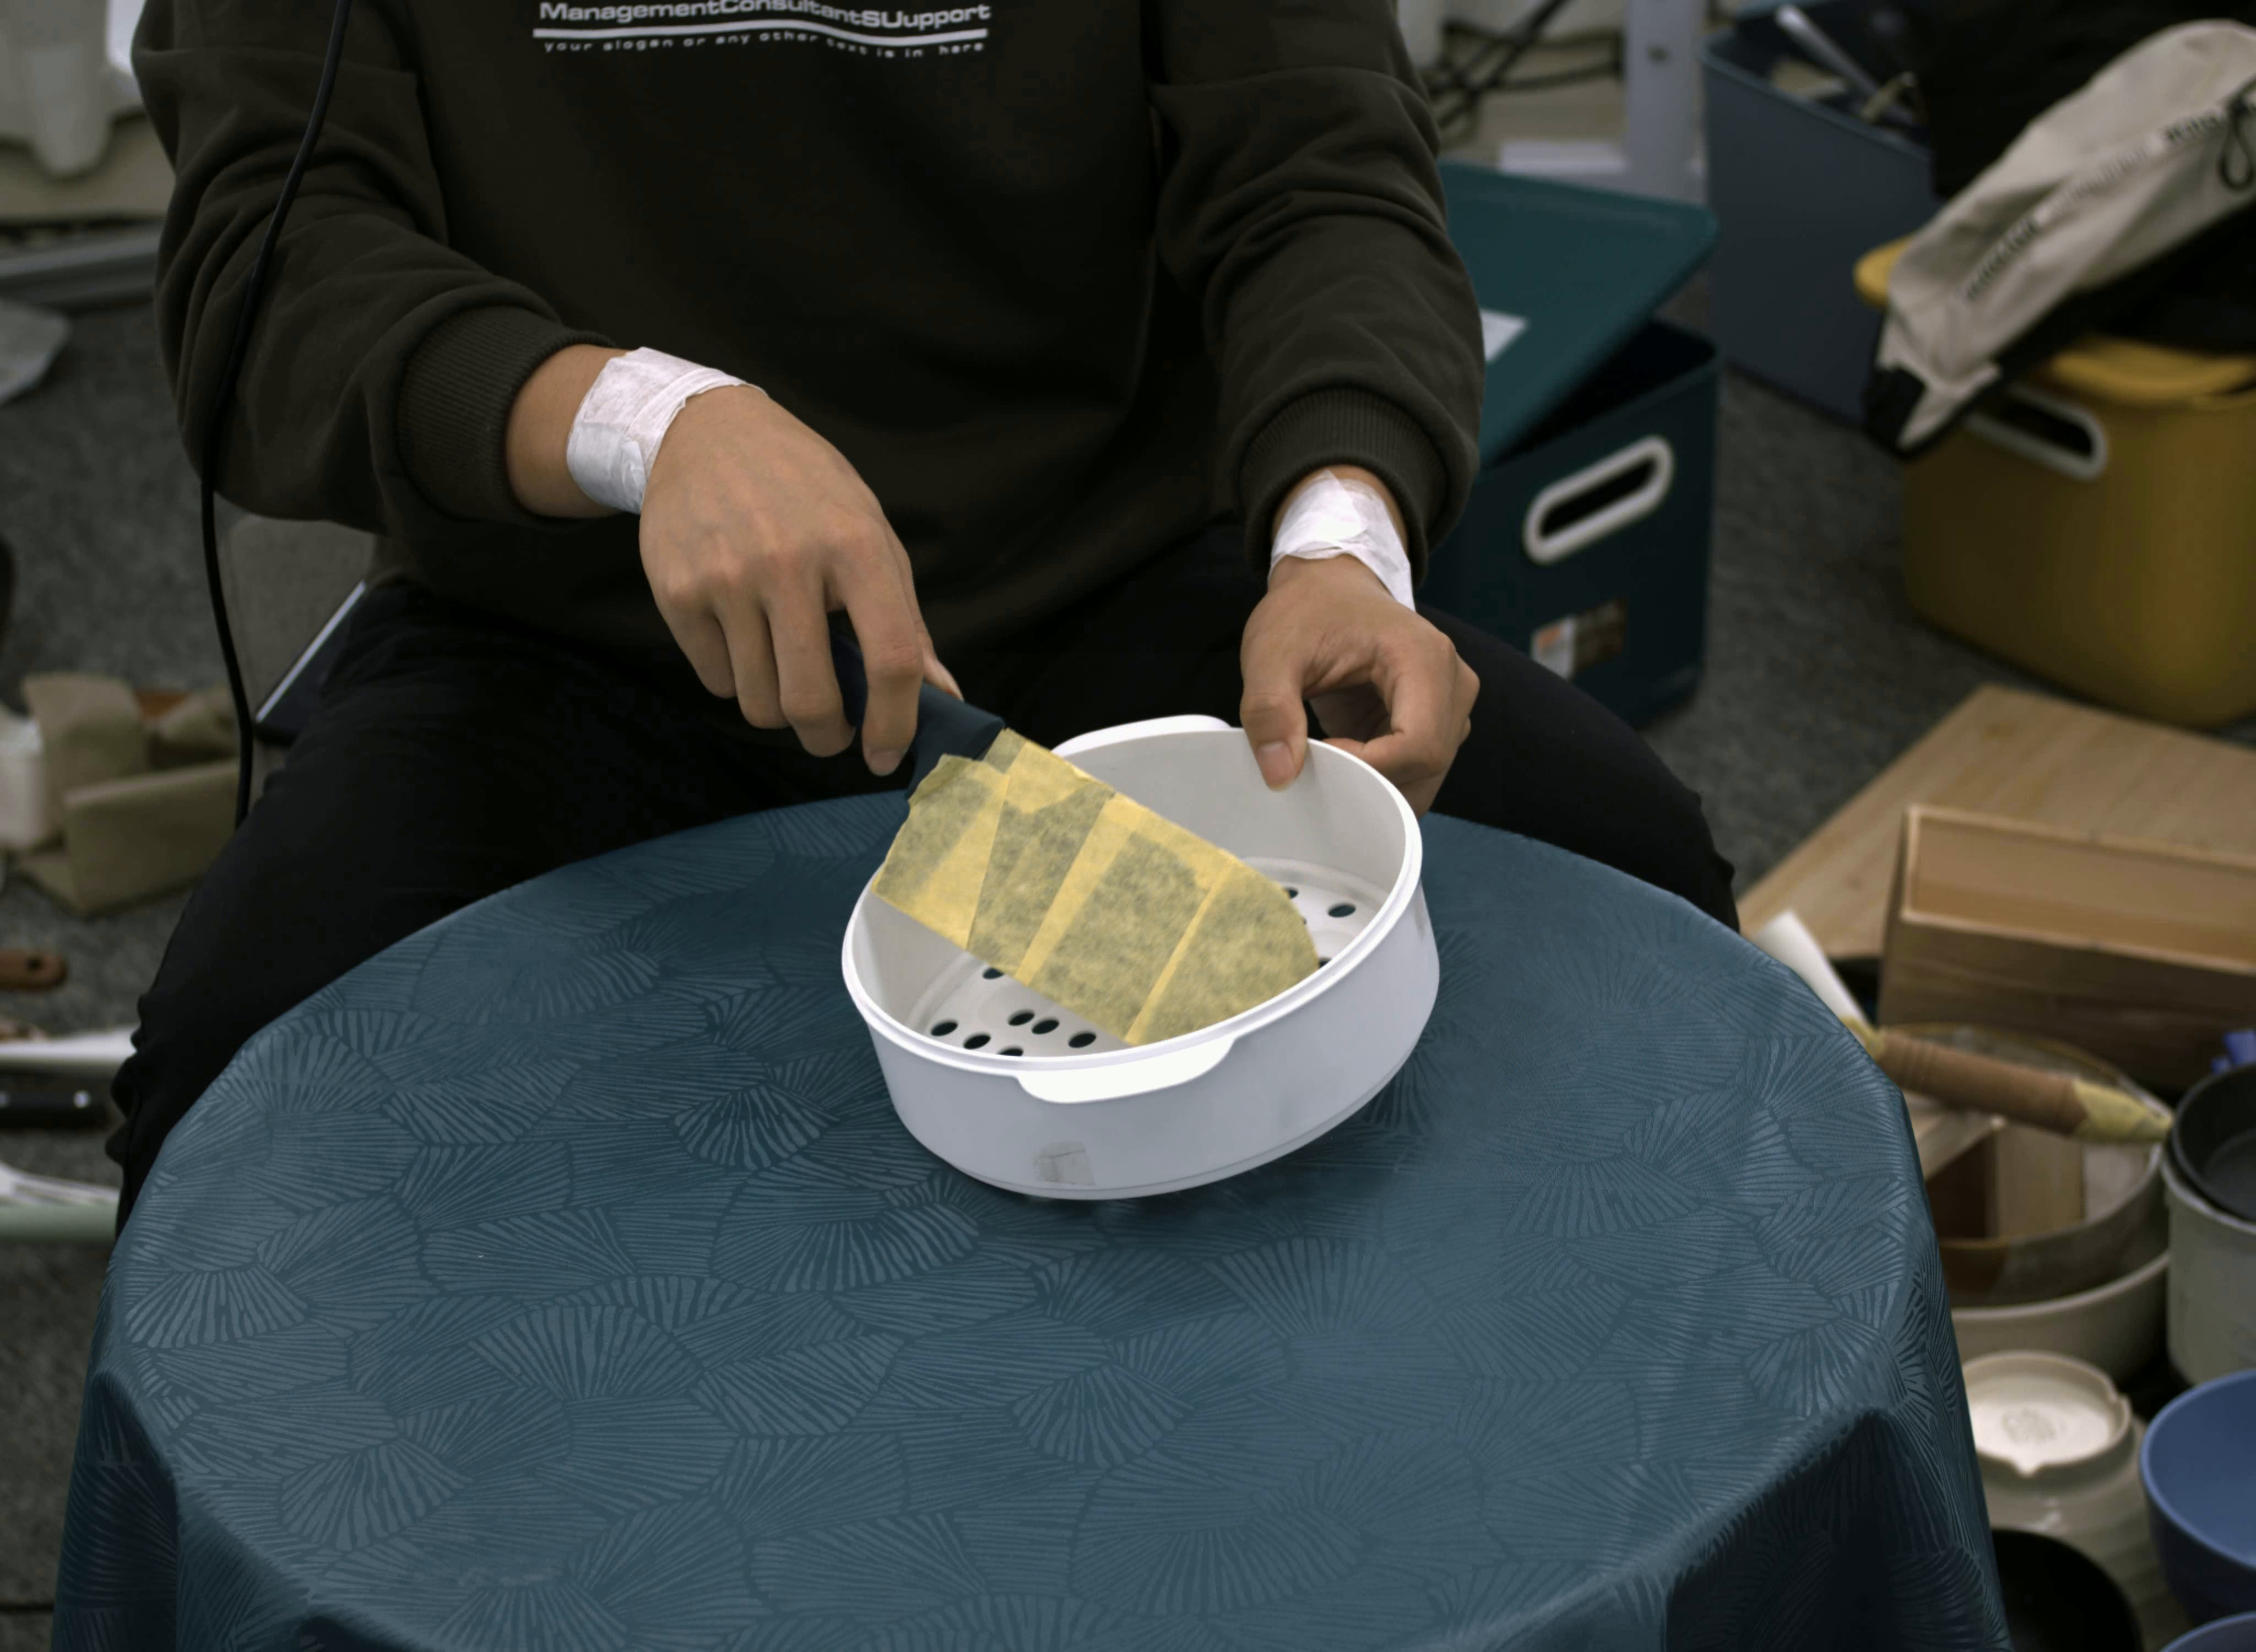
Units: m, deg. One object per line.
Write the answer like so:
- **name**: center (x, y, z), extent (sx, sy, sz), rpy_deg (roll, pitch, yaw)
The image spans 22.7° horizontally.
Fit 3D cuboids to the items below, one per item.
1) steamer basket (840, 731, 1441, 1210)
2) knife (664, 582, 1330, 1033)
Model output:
- **steamer basket**: center (0.007, 0.051, 1.901), extent (0.200, 0.068, 0.234), rpy_deg (-9, 30, 7)
- **knife**: center (-0.049, 0.000, 1.910), extent (0.289, 0.081, 0.027), rpy_deg (32, -4, 20)
